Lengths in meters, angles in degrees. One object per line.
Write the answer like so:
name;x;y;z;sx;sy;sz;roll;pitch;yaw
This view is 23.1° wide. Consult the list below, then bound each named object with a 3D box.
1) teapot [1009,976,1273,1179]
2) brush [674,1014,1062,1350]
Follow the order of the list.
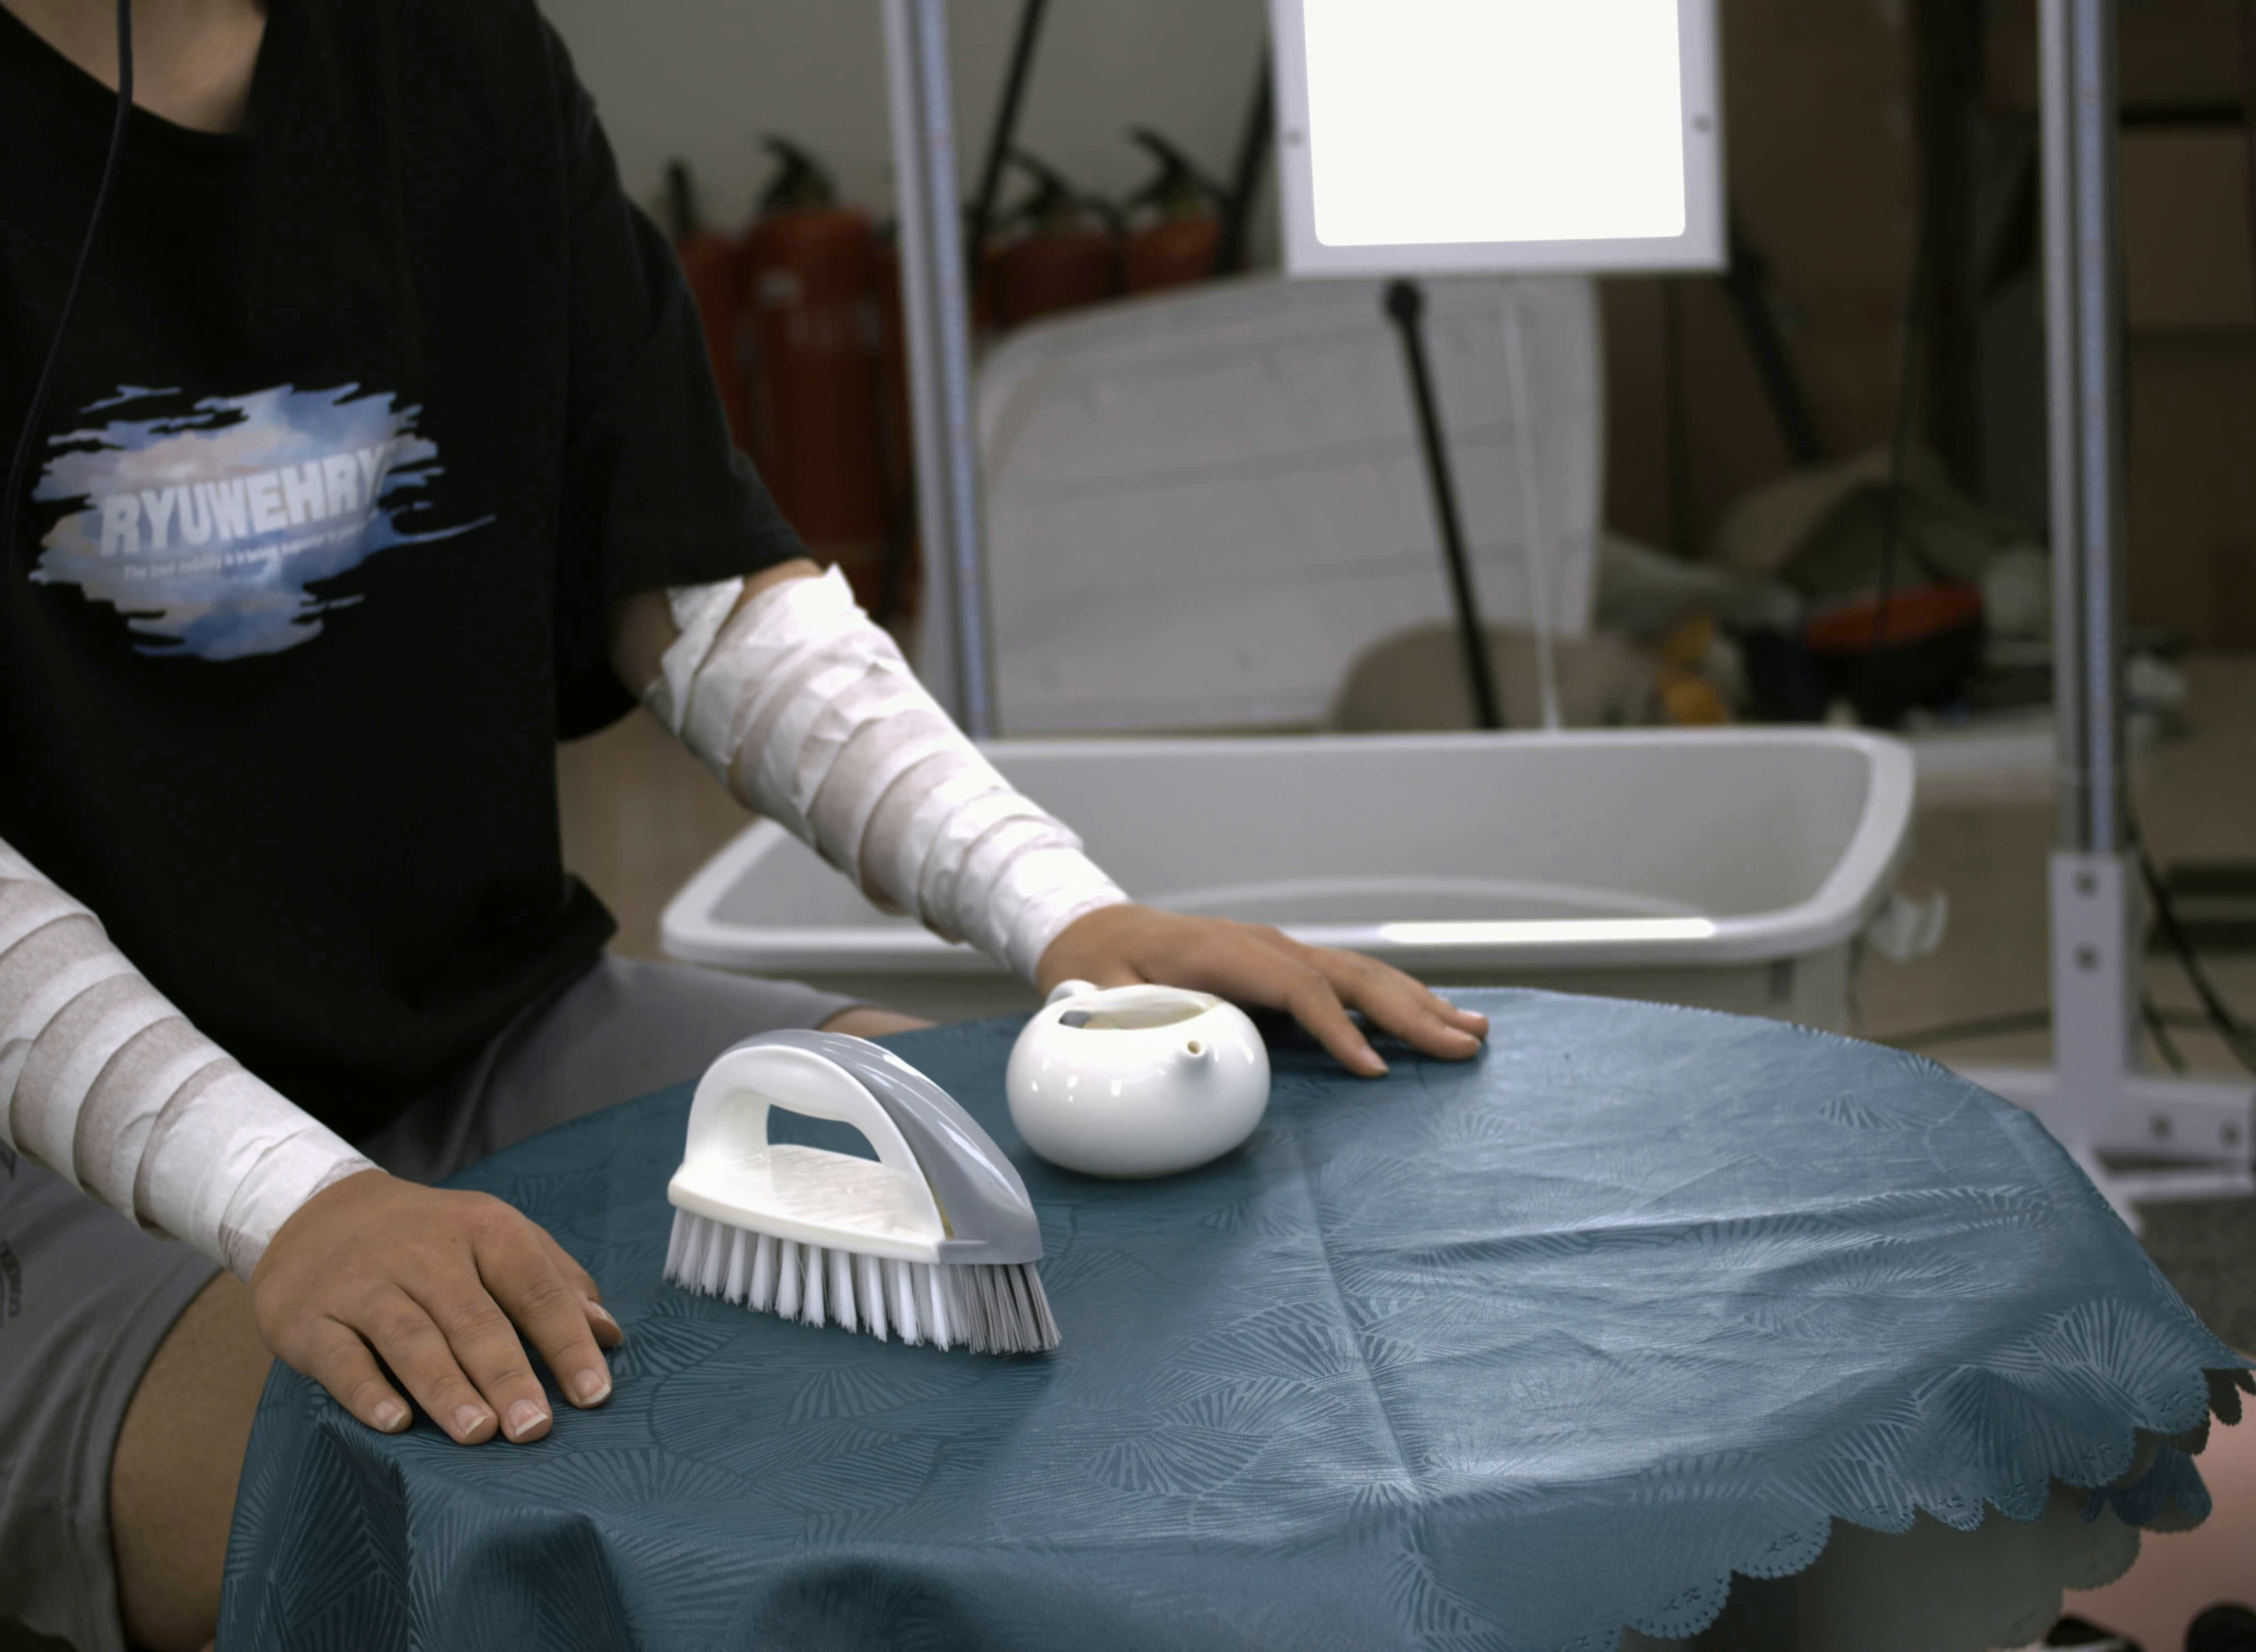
teapot;0.000;0.087;1.943;0.091;0.057;0.129;-15;16;-23
brush;-0.083;0.112;1.793;0.060;0.094;0.179;-19;21;-36
